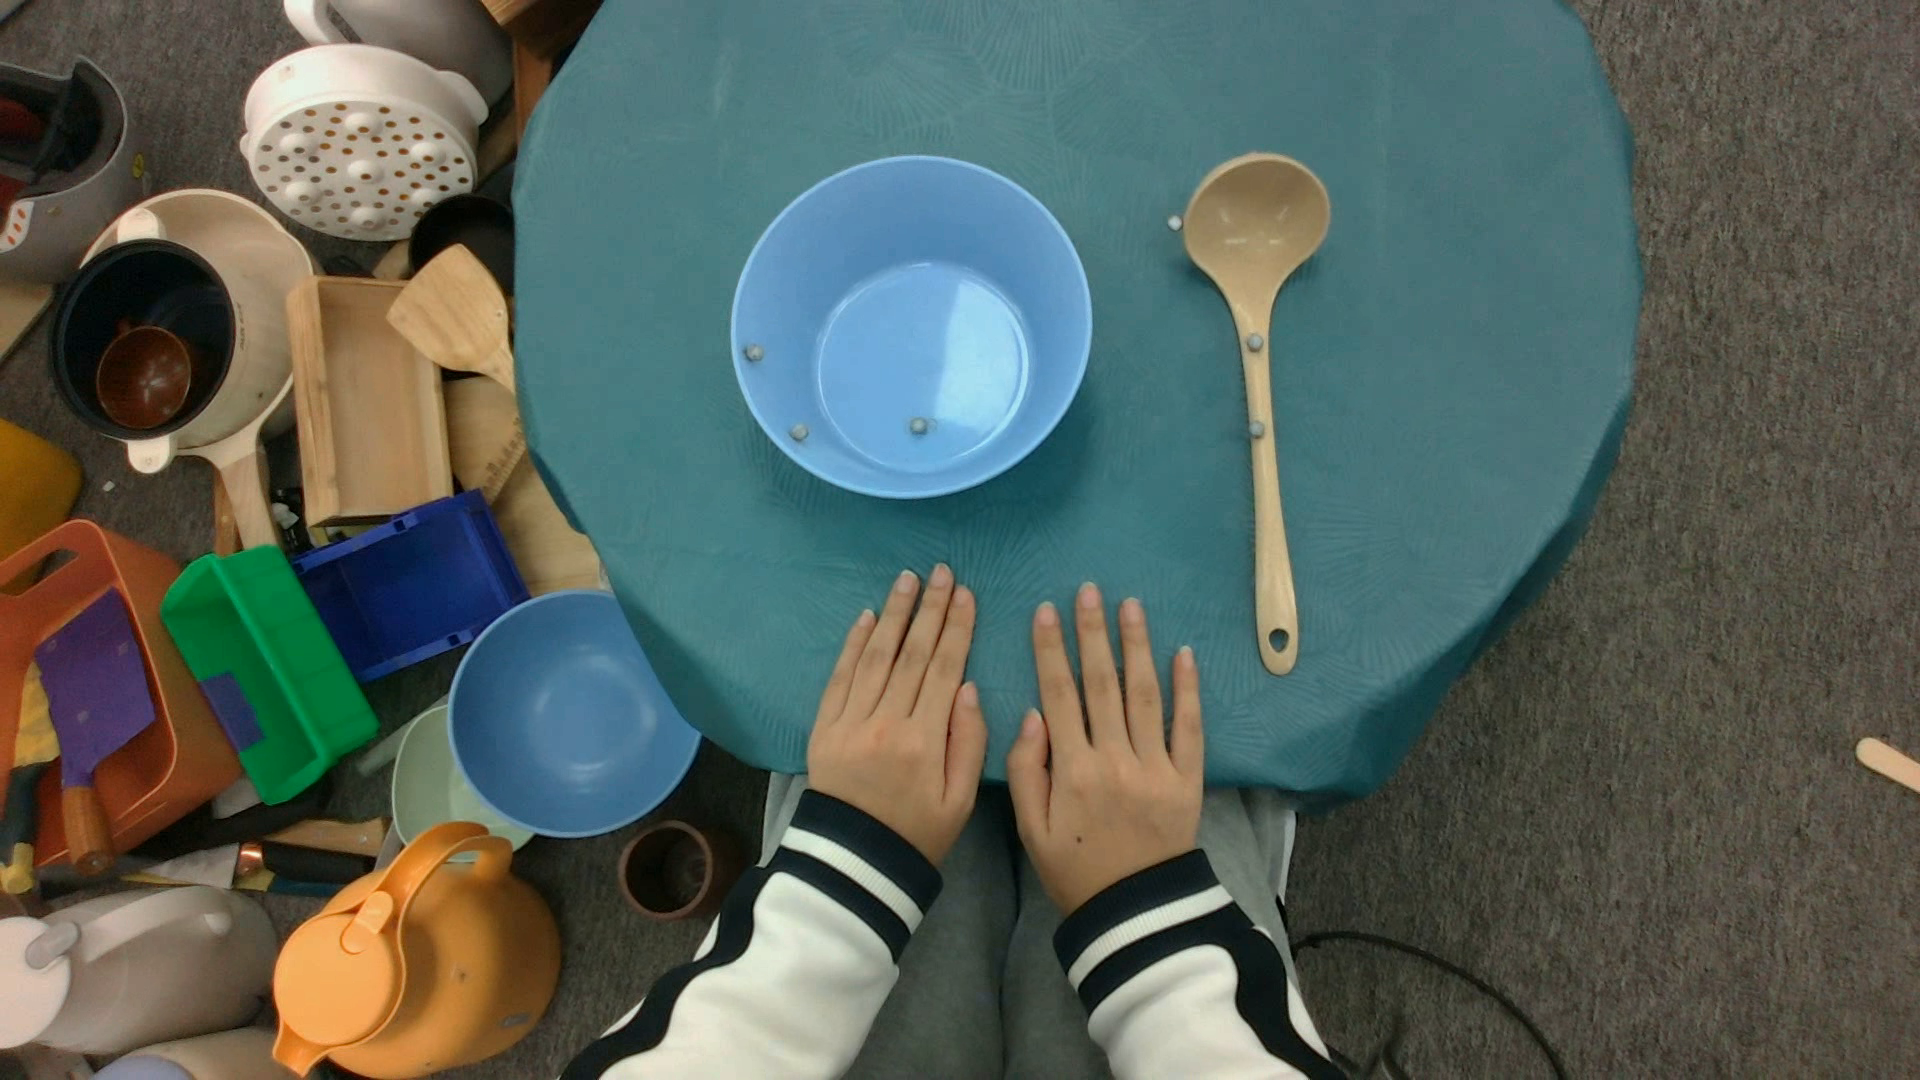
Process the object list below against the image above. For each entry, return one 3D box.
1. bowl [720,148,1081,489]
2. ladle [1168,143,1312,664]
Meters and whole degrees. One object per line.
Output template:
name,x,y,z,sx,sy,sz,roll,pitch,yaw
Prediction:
bowl,-0.027,-0.102,0.693,0.176,0.070,0.176,-1,76,4
ladle,0.148,-0.070,0.673,0.072,0.072,0.255,-5,76,2
